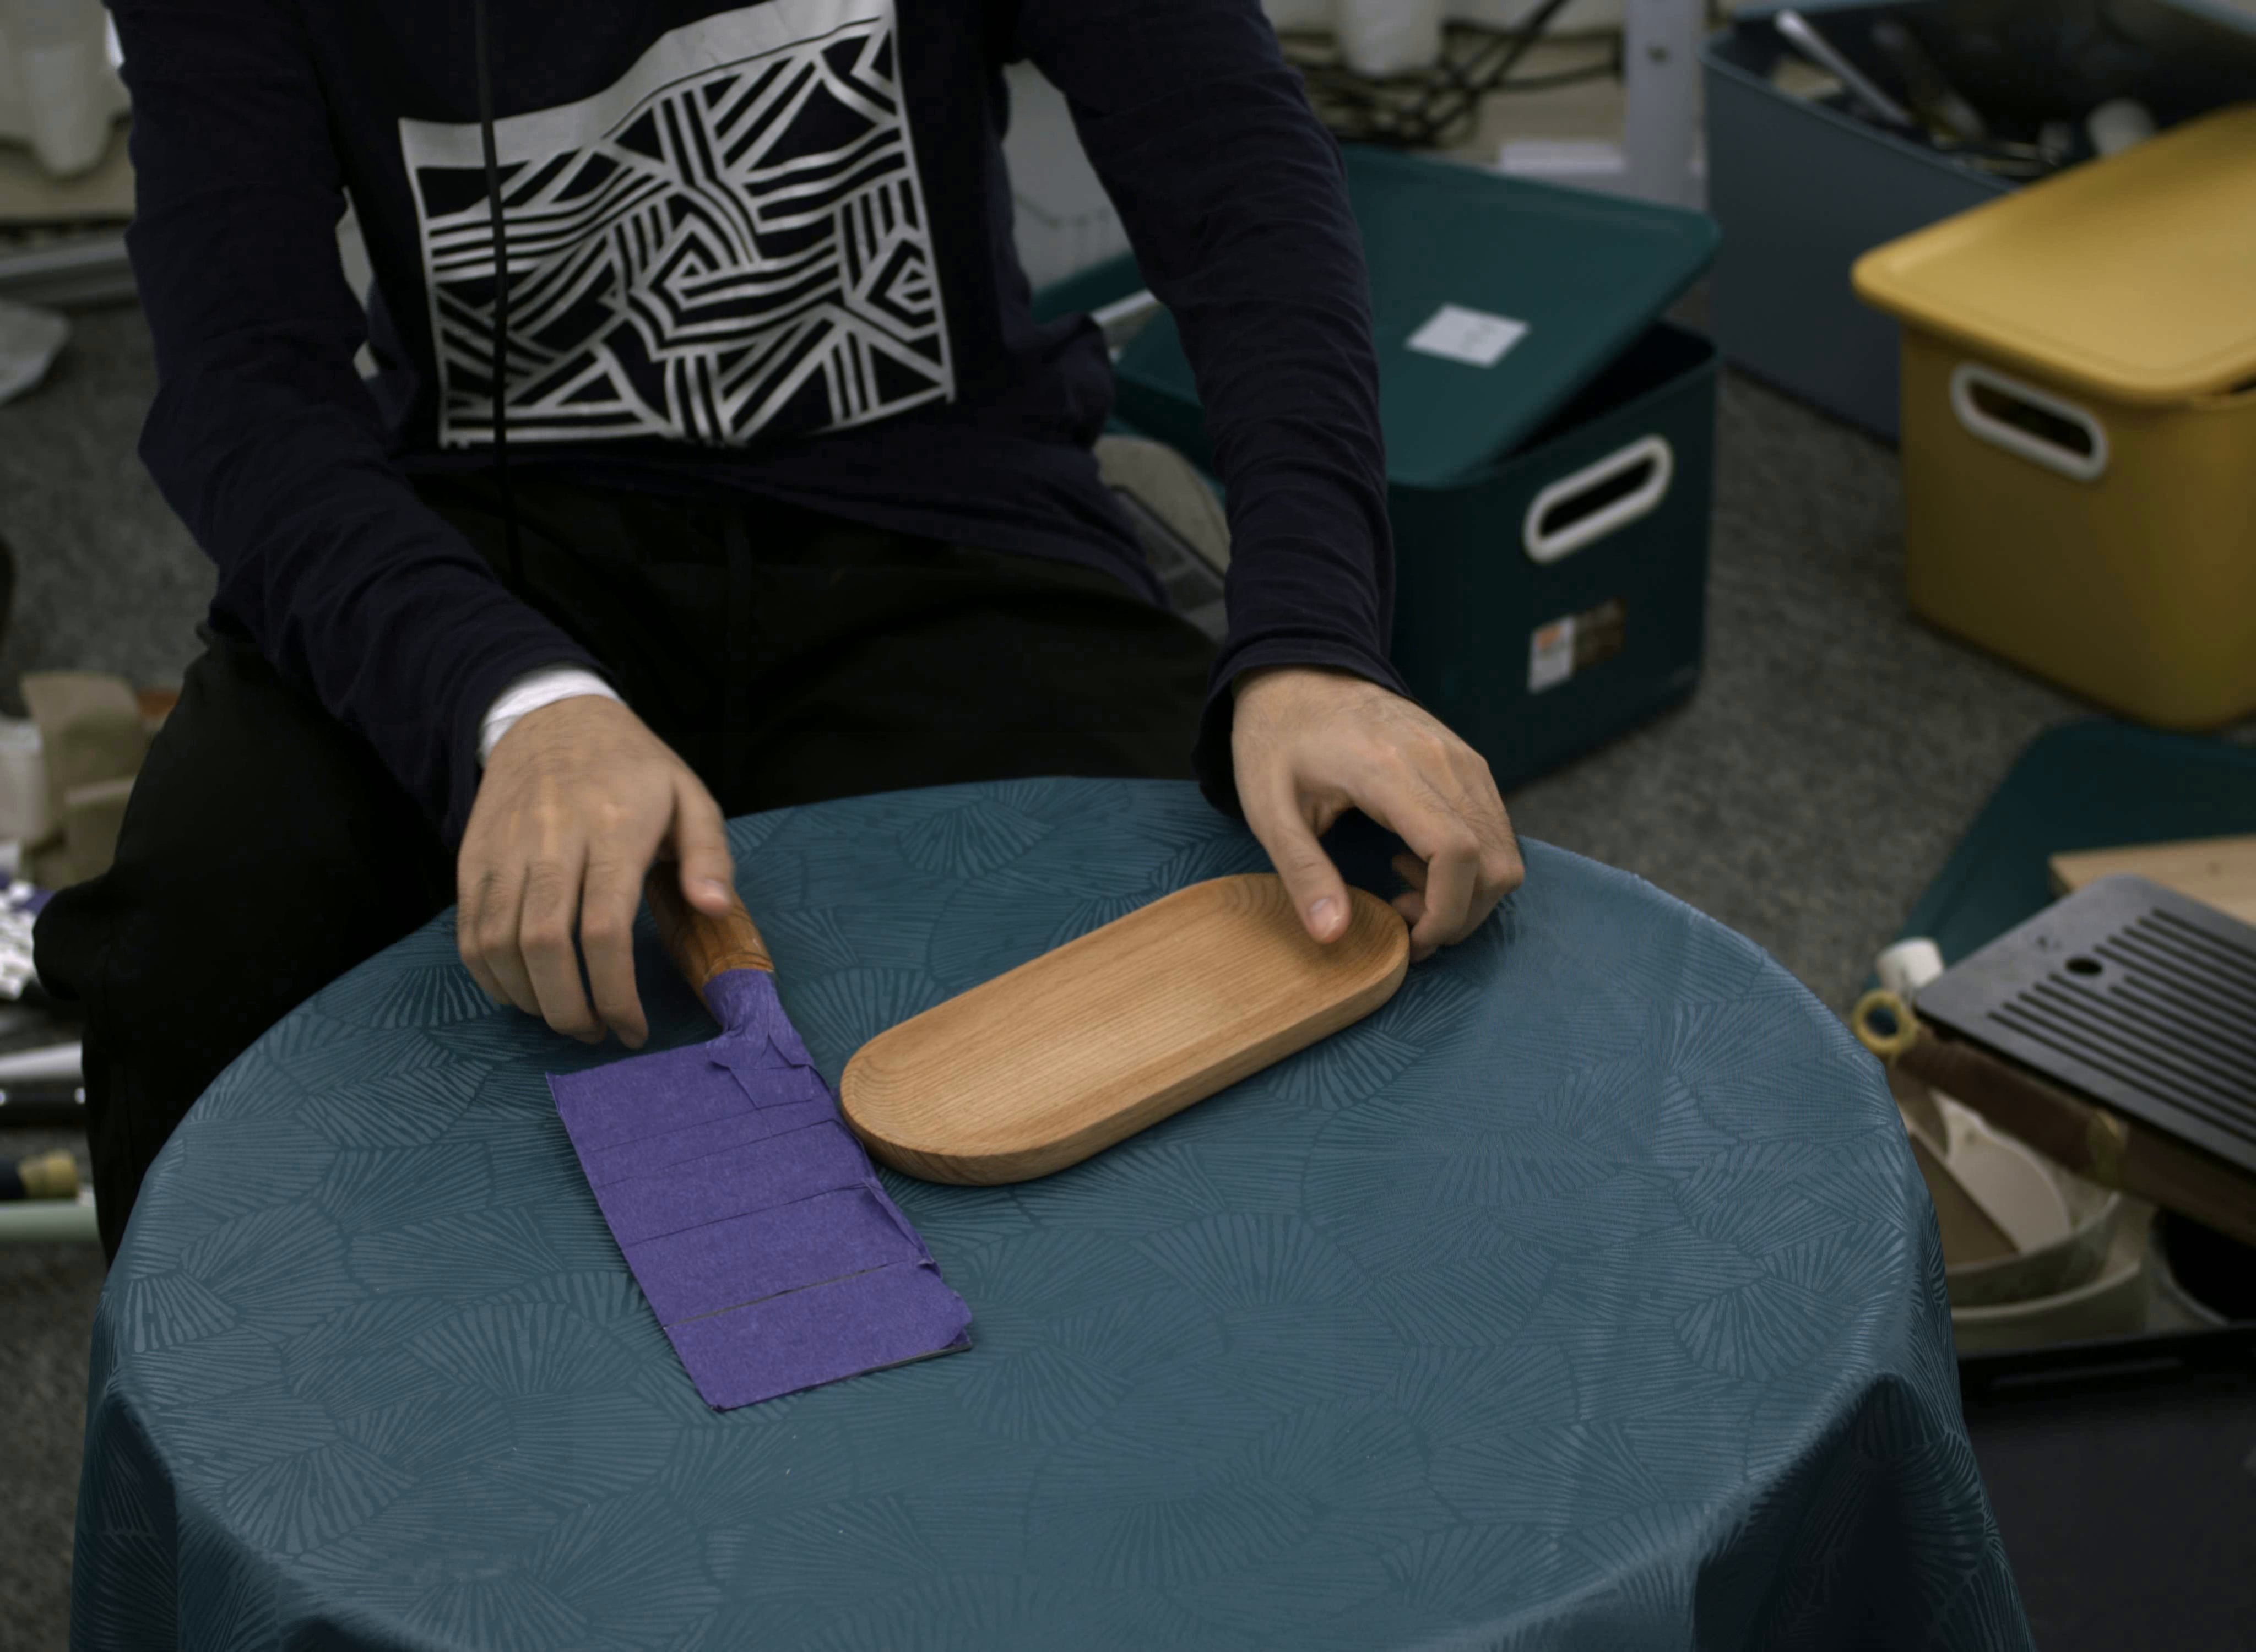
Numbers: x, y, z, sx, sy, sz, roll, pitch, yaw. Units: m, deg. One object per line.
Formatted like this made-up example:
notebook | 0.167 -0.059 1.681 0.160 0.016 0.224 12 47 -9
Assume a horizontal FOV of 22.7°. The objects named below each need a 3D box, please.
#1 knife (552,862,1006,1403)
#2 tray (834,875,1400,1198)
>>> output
knife | -0.139 0.099 1.891 0.104 0.032 0.318 -12 29 -17
tray | -0.002 0.072 1.942 0.234 0.020 0.101 -27 36 -36
